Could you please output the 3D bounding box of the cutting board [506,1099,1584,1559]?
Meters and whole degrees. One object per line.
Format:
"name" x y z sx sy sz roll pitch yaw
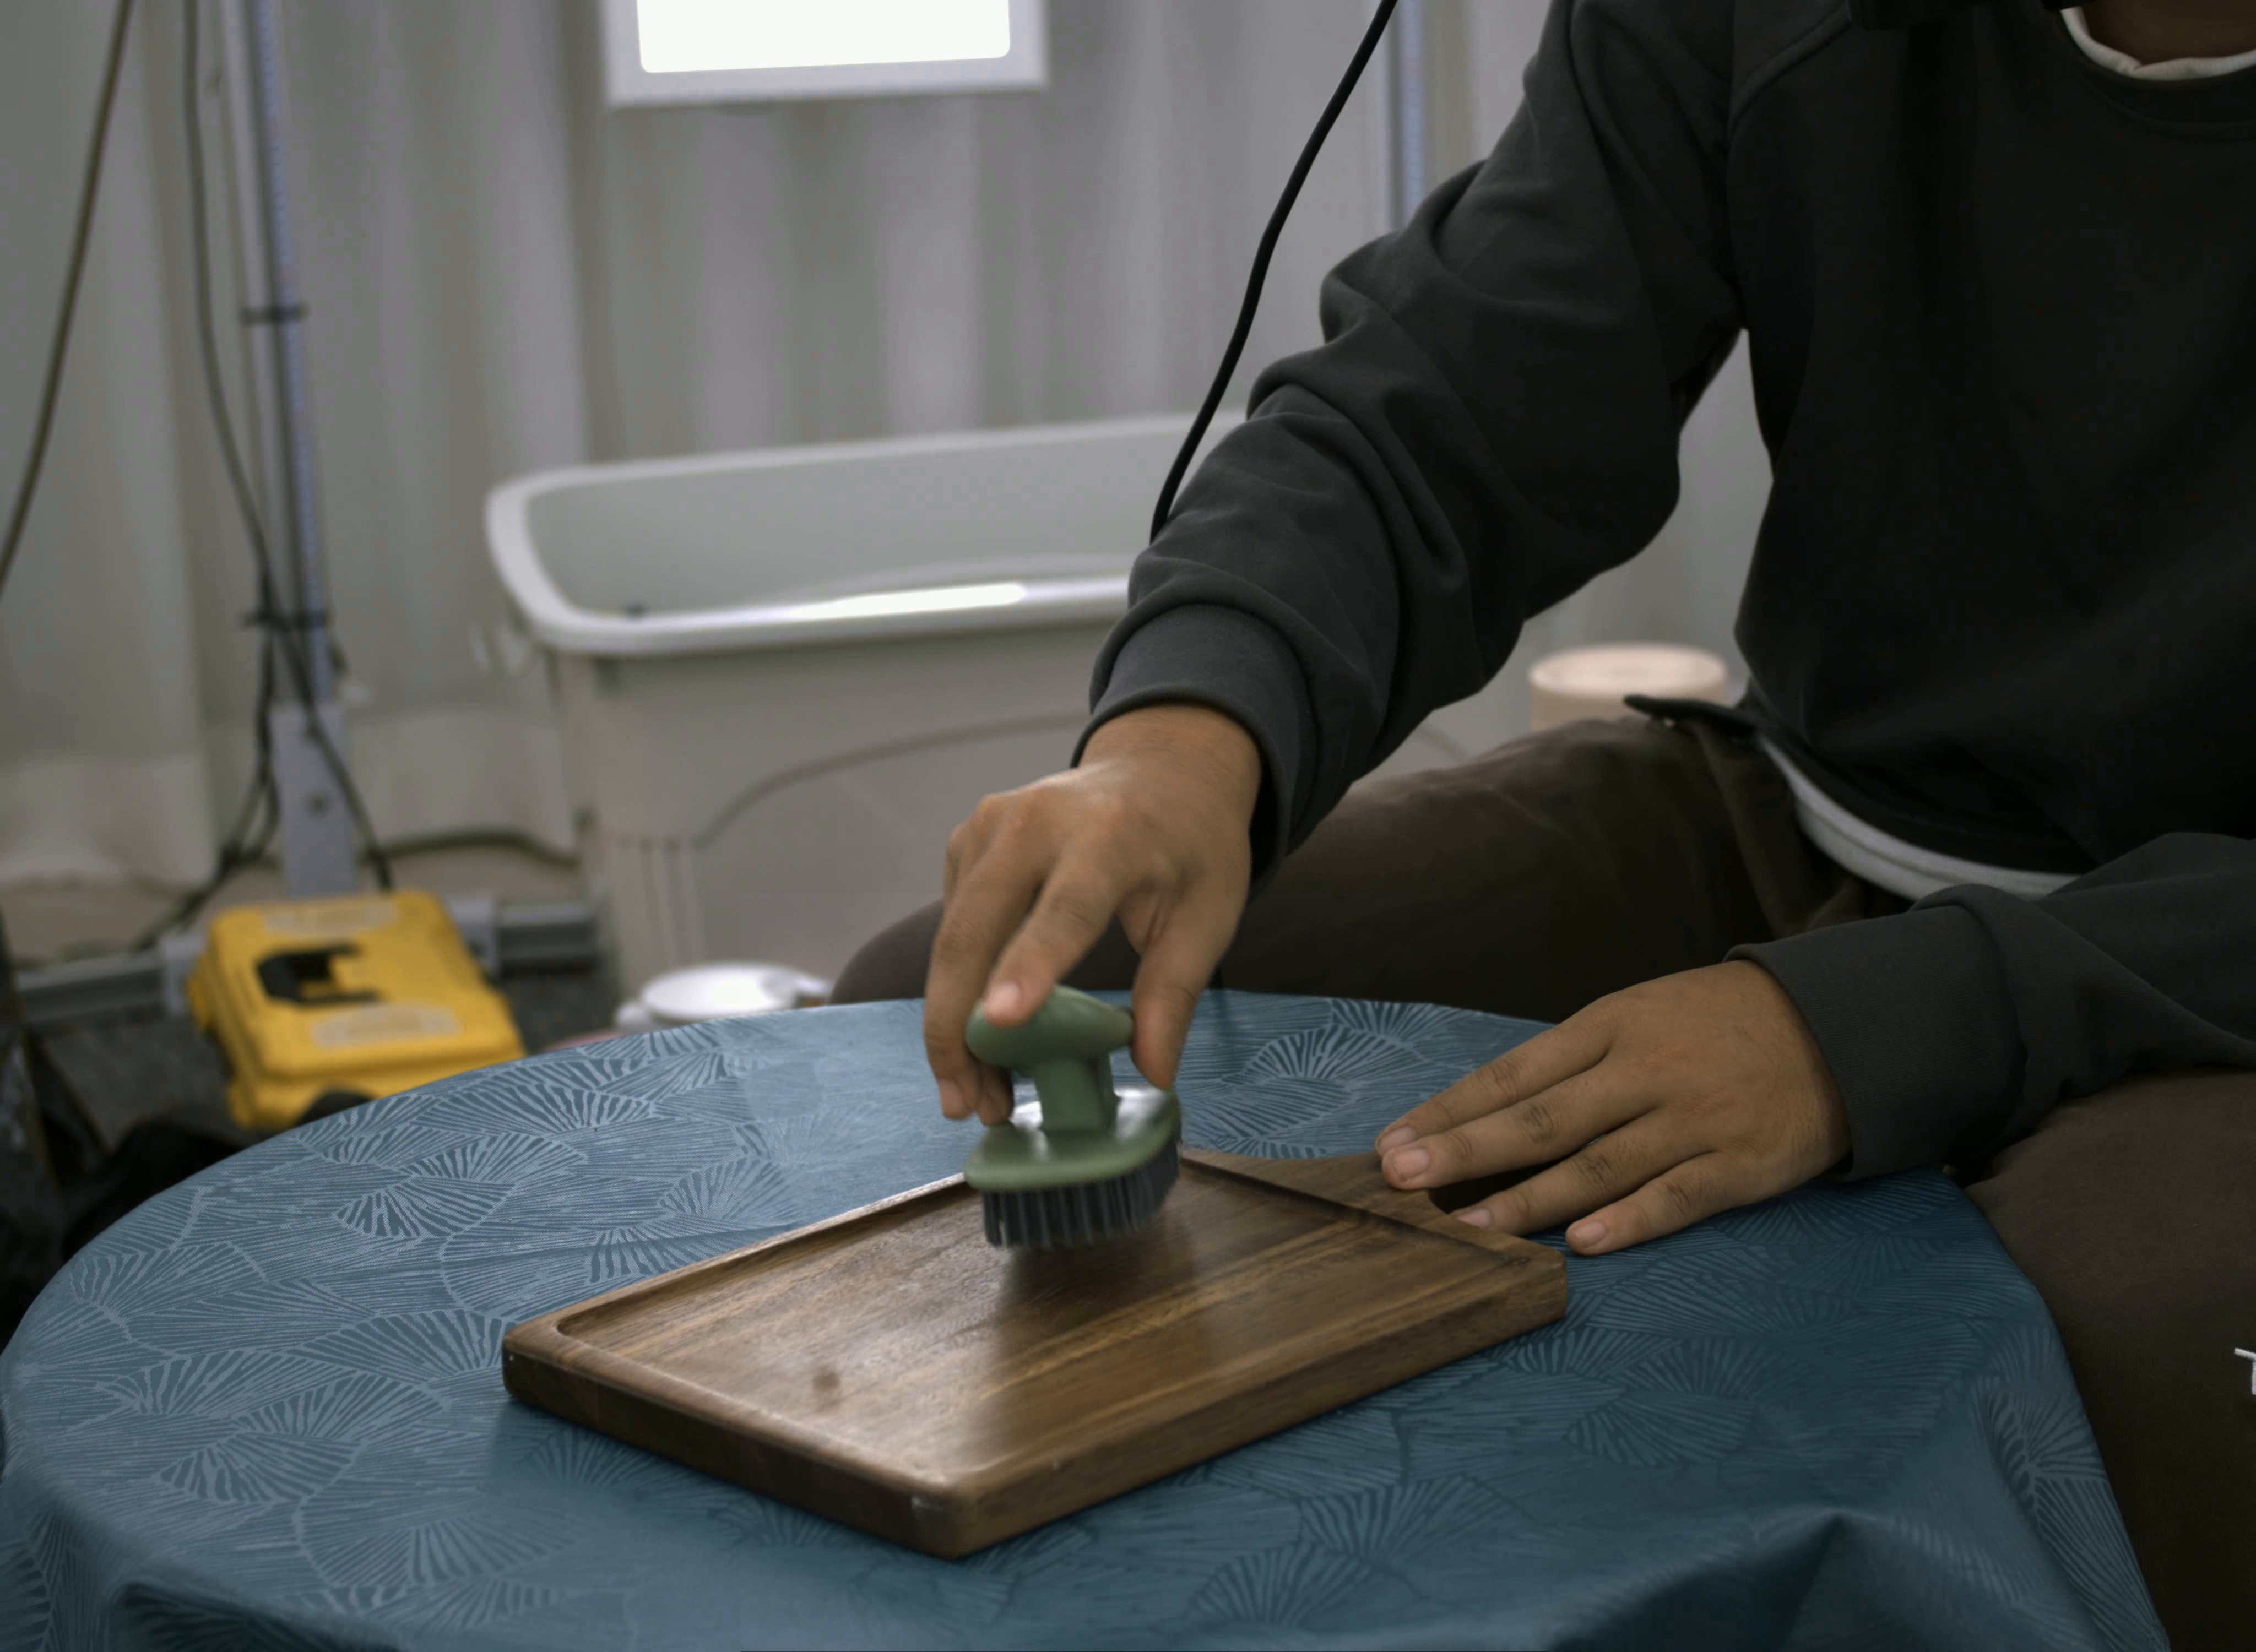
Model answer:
"cutting board" 0.012 0.133 1.606 0.351 0.023 0.202 -16 20 -41

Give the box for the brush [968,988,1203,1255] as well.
"brush" -0.013 0.090 1.618 0.059 0.076 0.122 -4 -7 12
